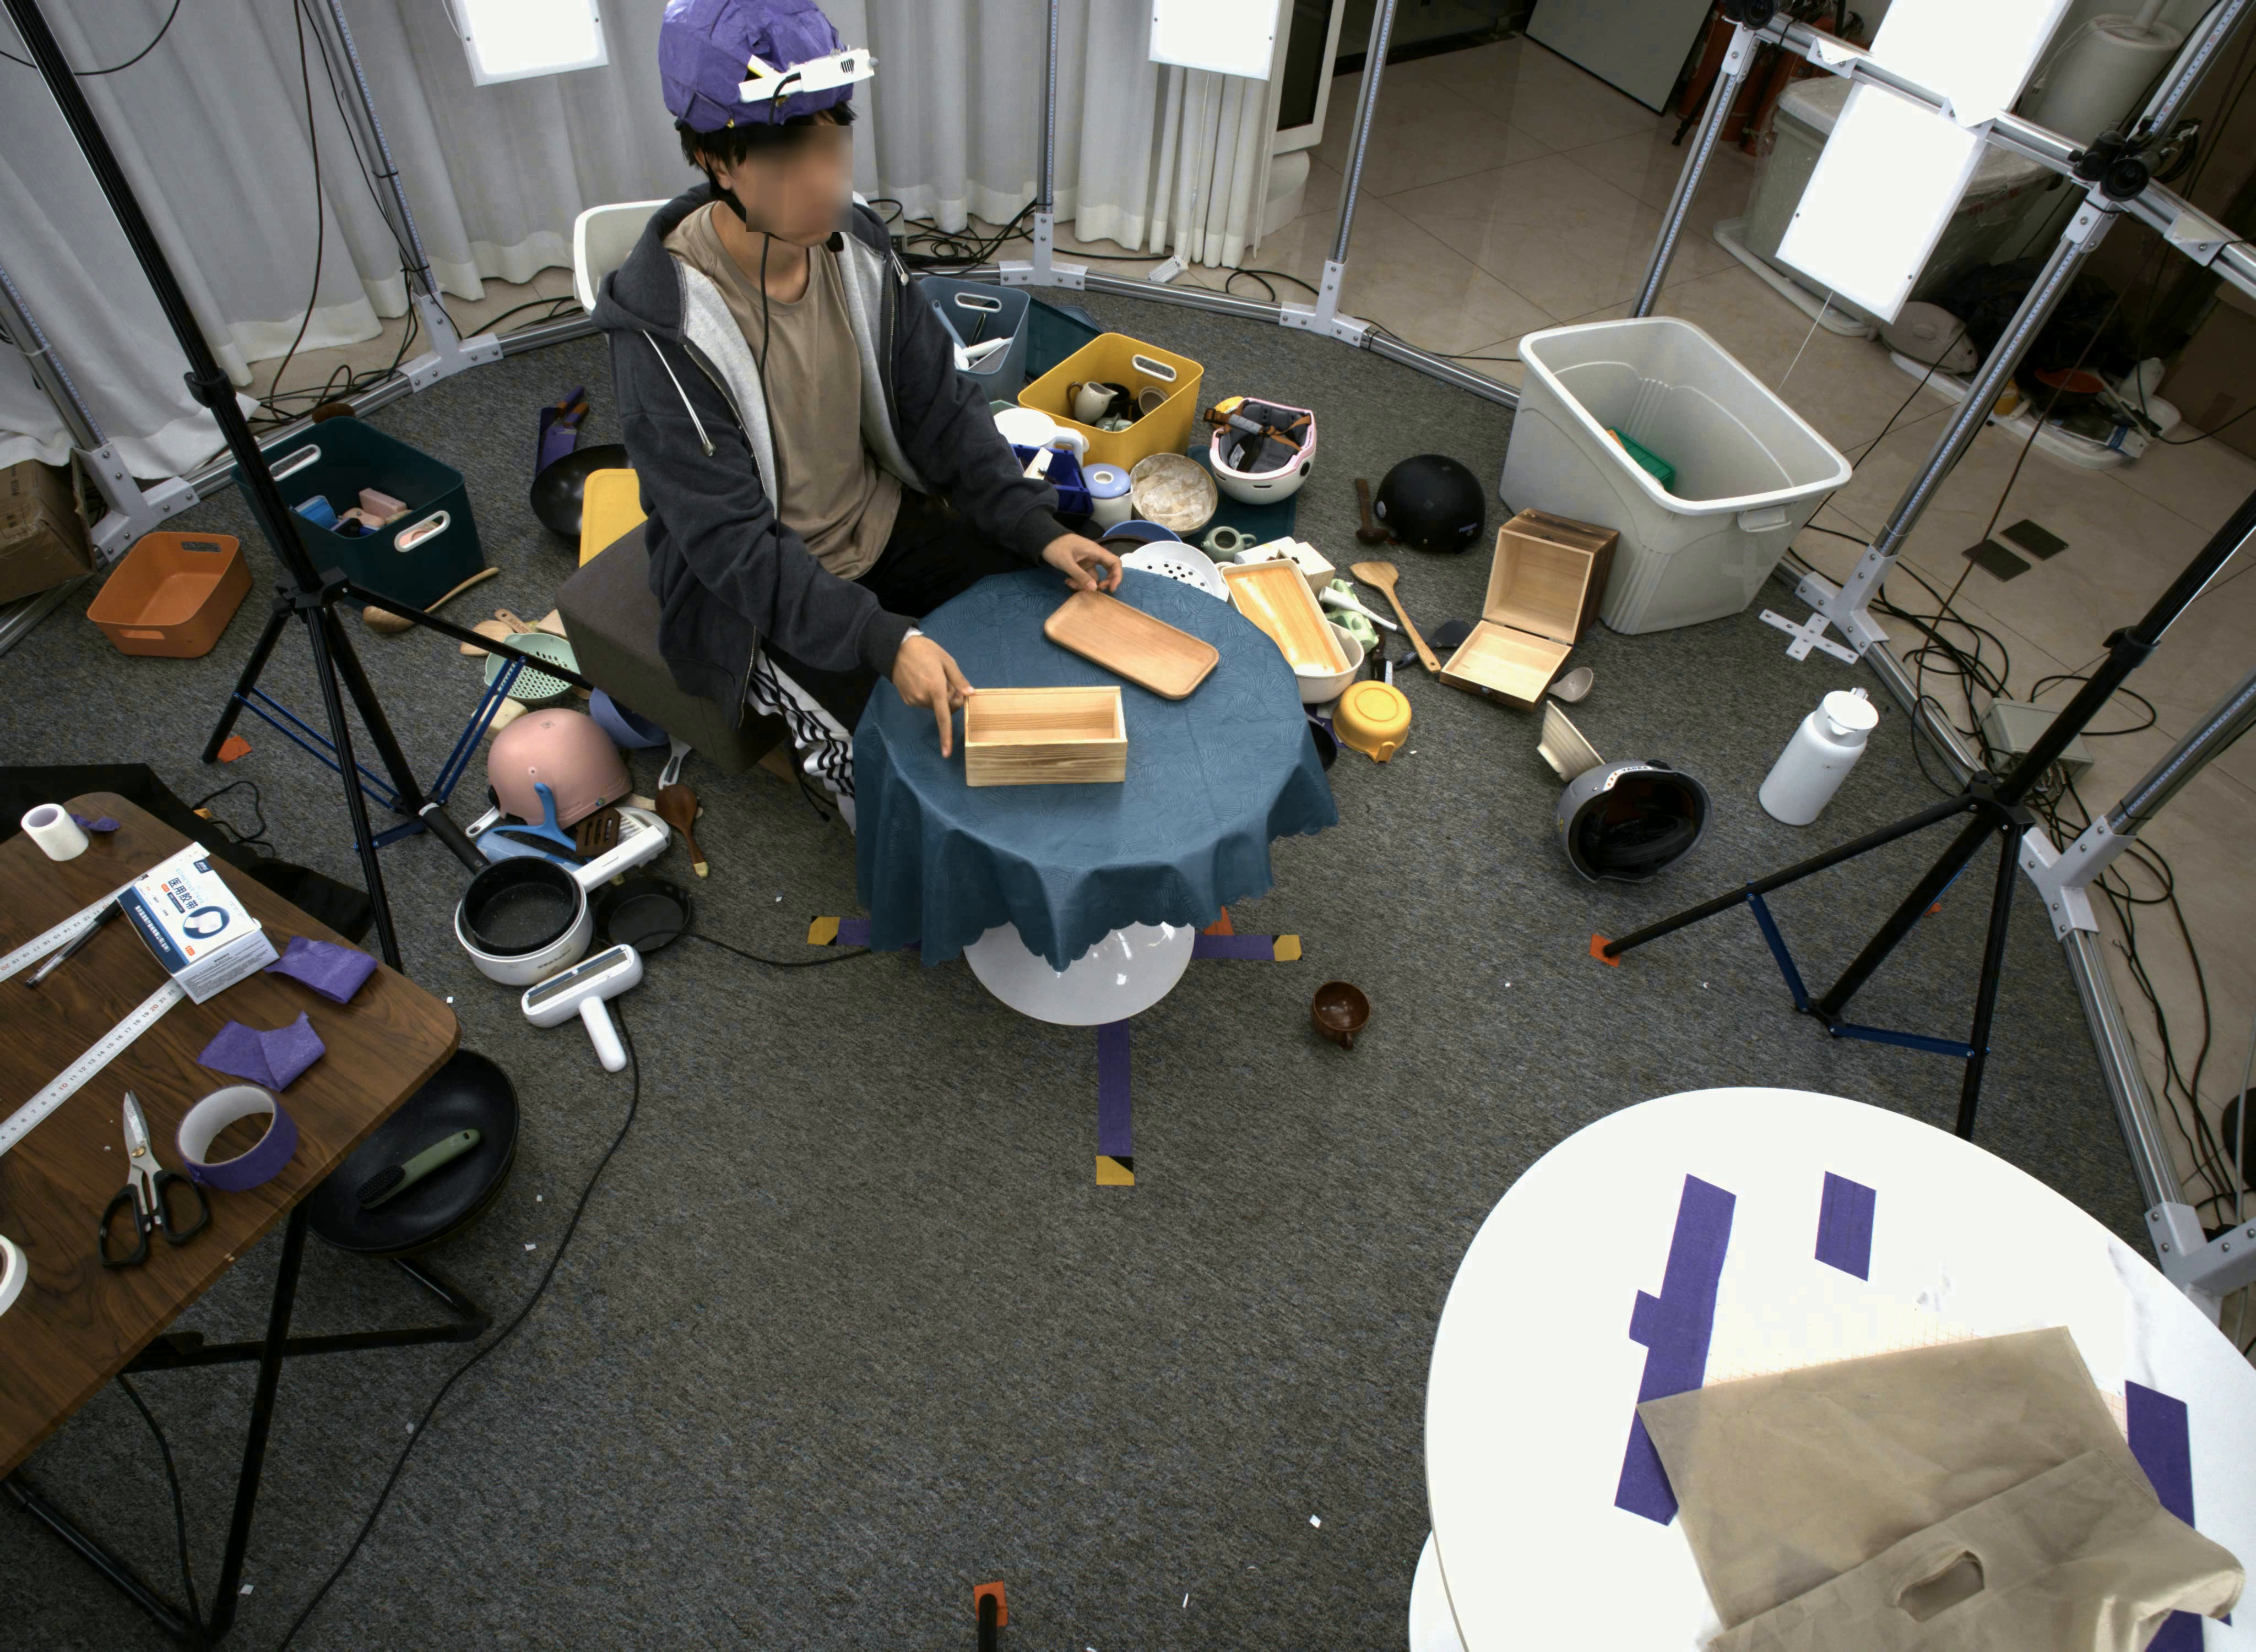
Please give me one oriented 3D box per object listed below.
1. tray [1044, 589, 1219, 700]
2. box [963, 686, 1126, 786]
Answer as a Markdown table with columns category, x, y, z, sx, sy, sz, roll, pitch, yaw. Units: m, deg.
| category | x | y | z | sx | sy | sz | roll | pitch | yaw |
| --- | --- | --- | --- | --- | --- | --- | --- | --- | --- |
| tray | 0.004 | -0.268 | 1.889 | 0.253 | 0.022 | 0.132 | 28 | 50 | 20 |
| box | -0.113 | -0.121 | 1.713 | 0.211 | 0.078 | 0.110 | -2 | 49 | -6 |
